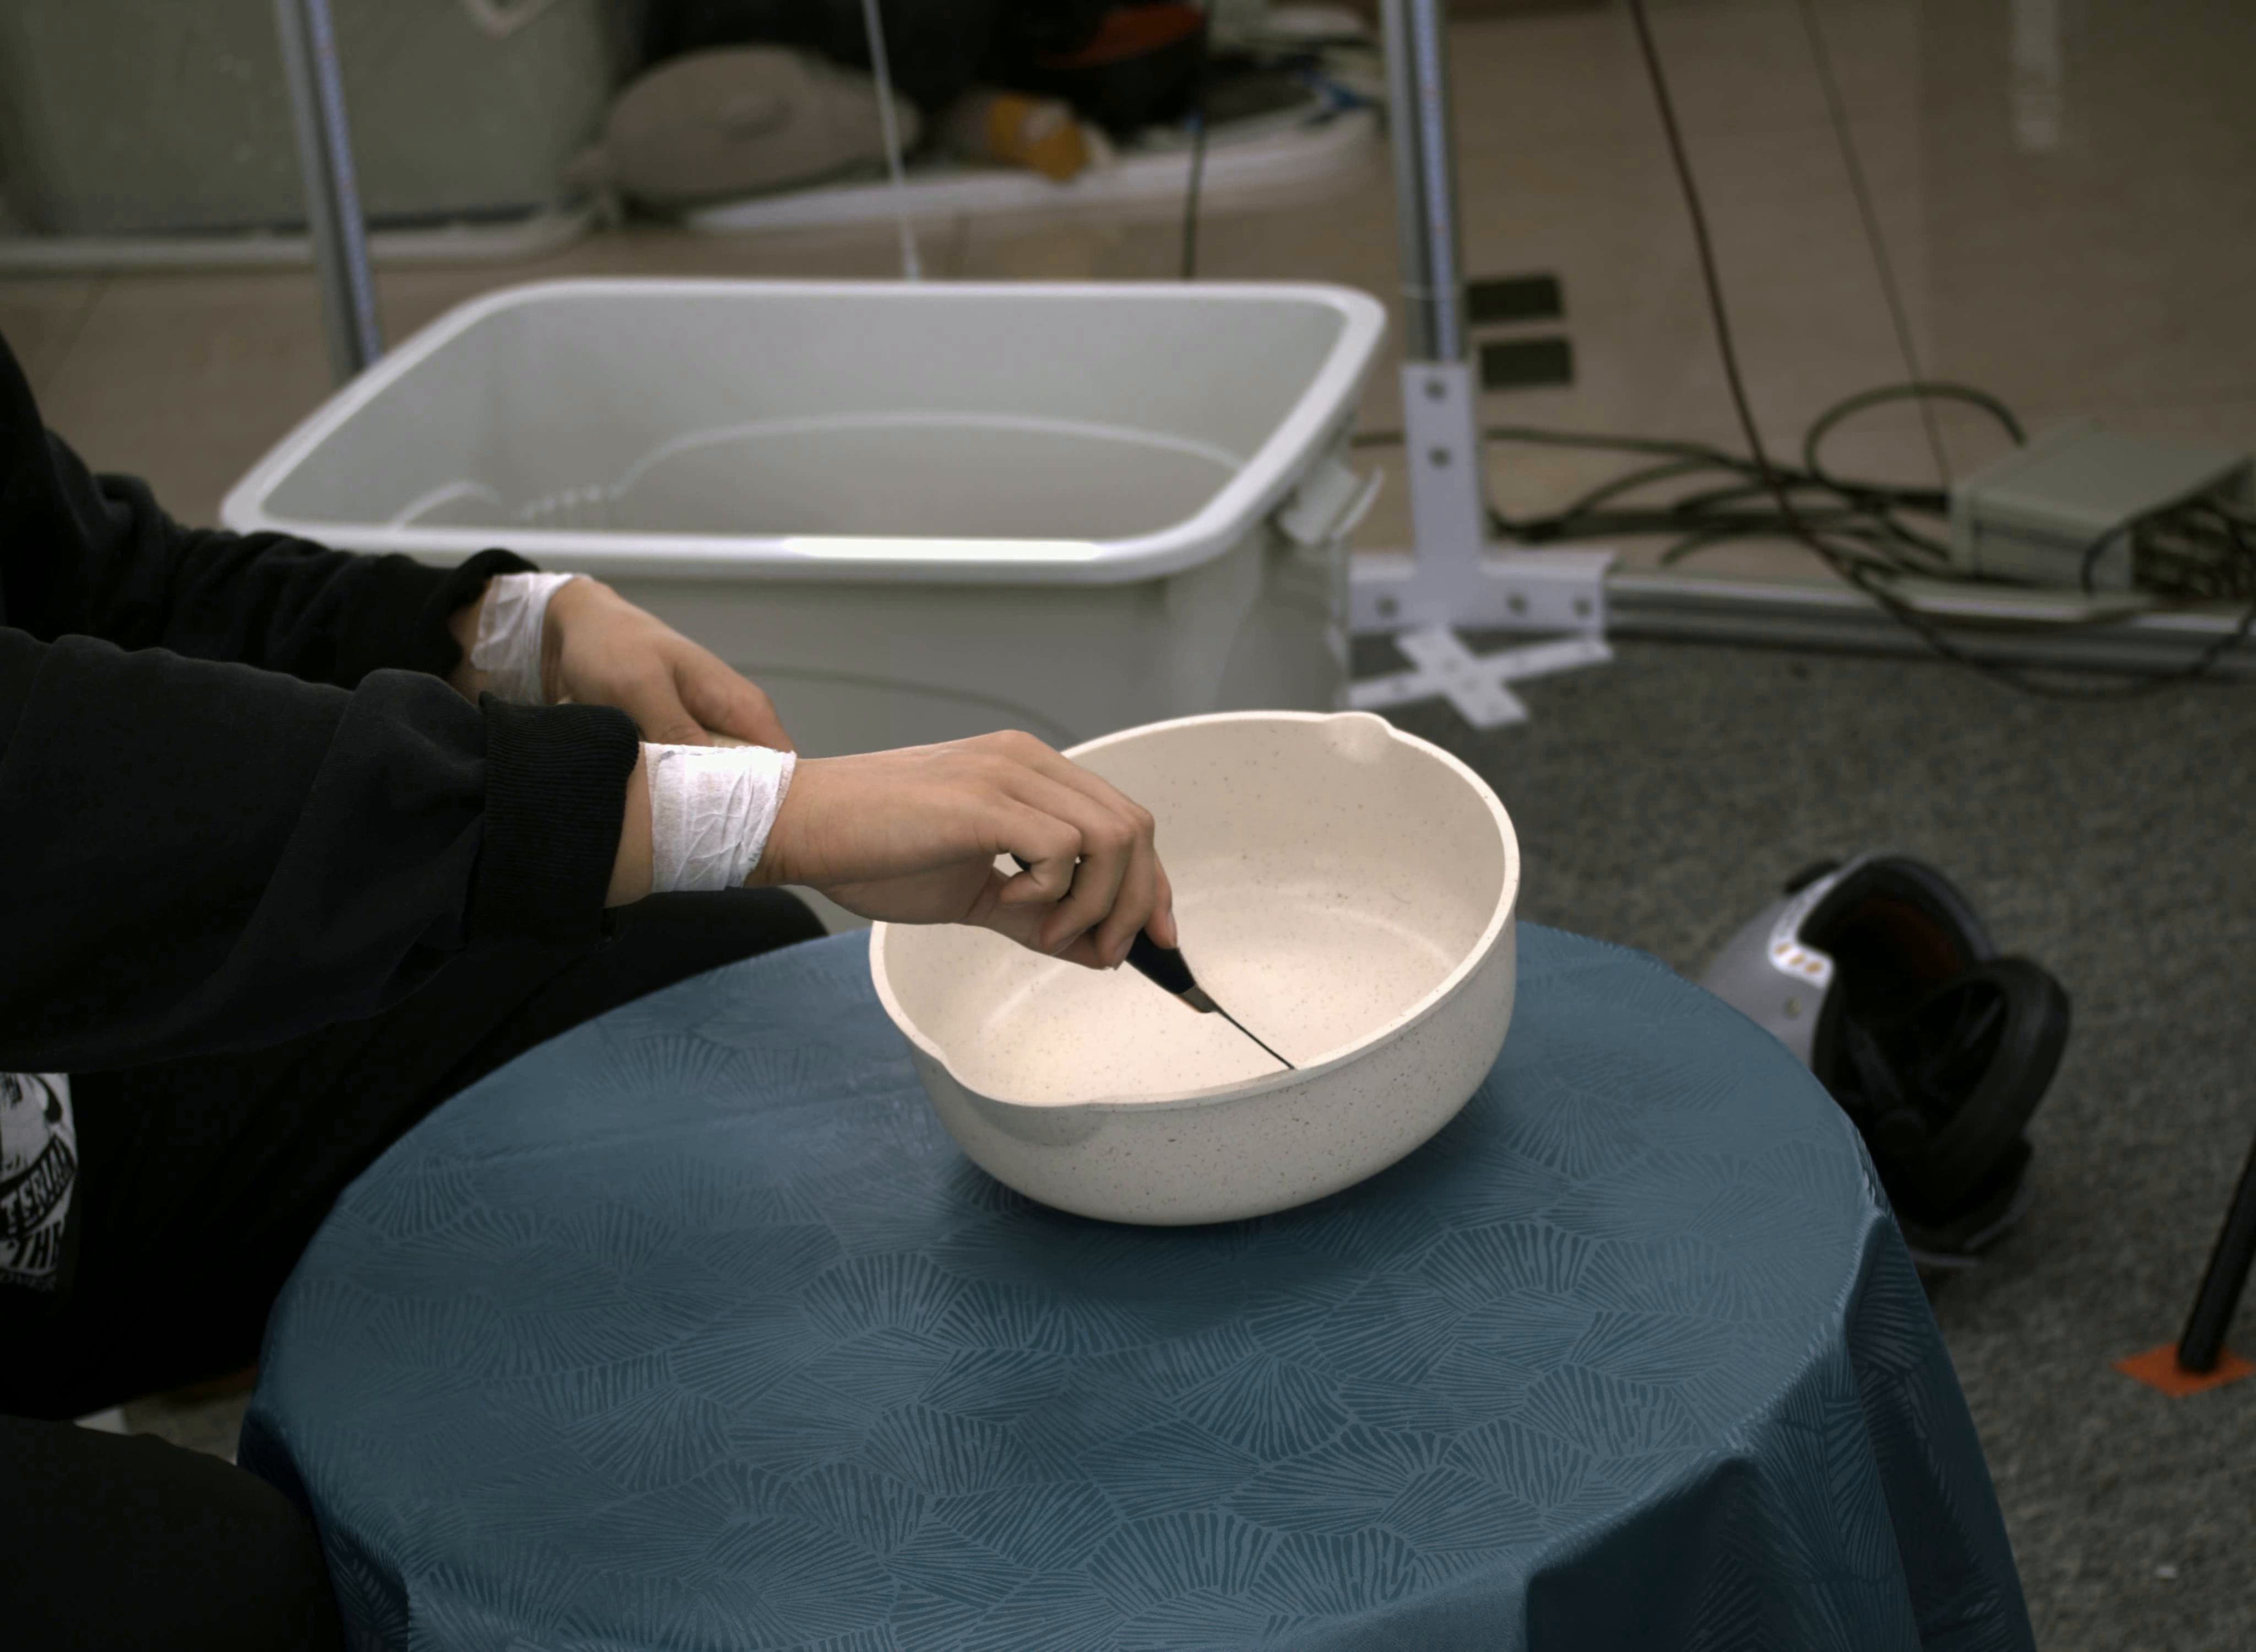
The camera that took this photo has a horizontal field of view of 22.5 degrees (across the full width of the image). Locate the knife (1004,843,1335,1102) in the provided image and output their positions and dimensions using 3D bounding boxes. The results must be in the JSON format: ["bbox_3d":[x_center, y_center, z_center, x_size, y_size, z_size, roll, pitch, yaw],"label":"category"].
[{"bbox_3d":[0.025,0.061,2.032,0.026,0.228,0.017,25,80,45],"label":"knife"}]

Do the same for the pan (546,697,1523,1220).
[{"bbox_3d":[-0.044,0.034,2.223,0.432,0.104,0.260,13,44,32],"label":"pan"}]
